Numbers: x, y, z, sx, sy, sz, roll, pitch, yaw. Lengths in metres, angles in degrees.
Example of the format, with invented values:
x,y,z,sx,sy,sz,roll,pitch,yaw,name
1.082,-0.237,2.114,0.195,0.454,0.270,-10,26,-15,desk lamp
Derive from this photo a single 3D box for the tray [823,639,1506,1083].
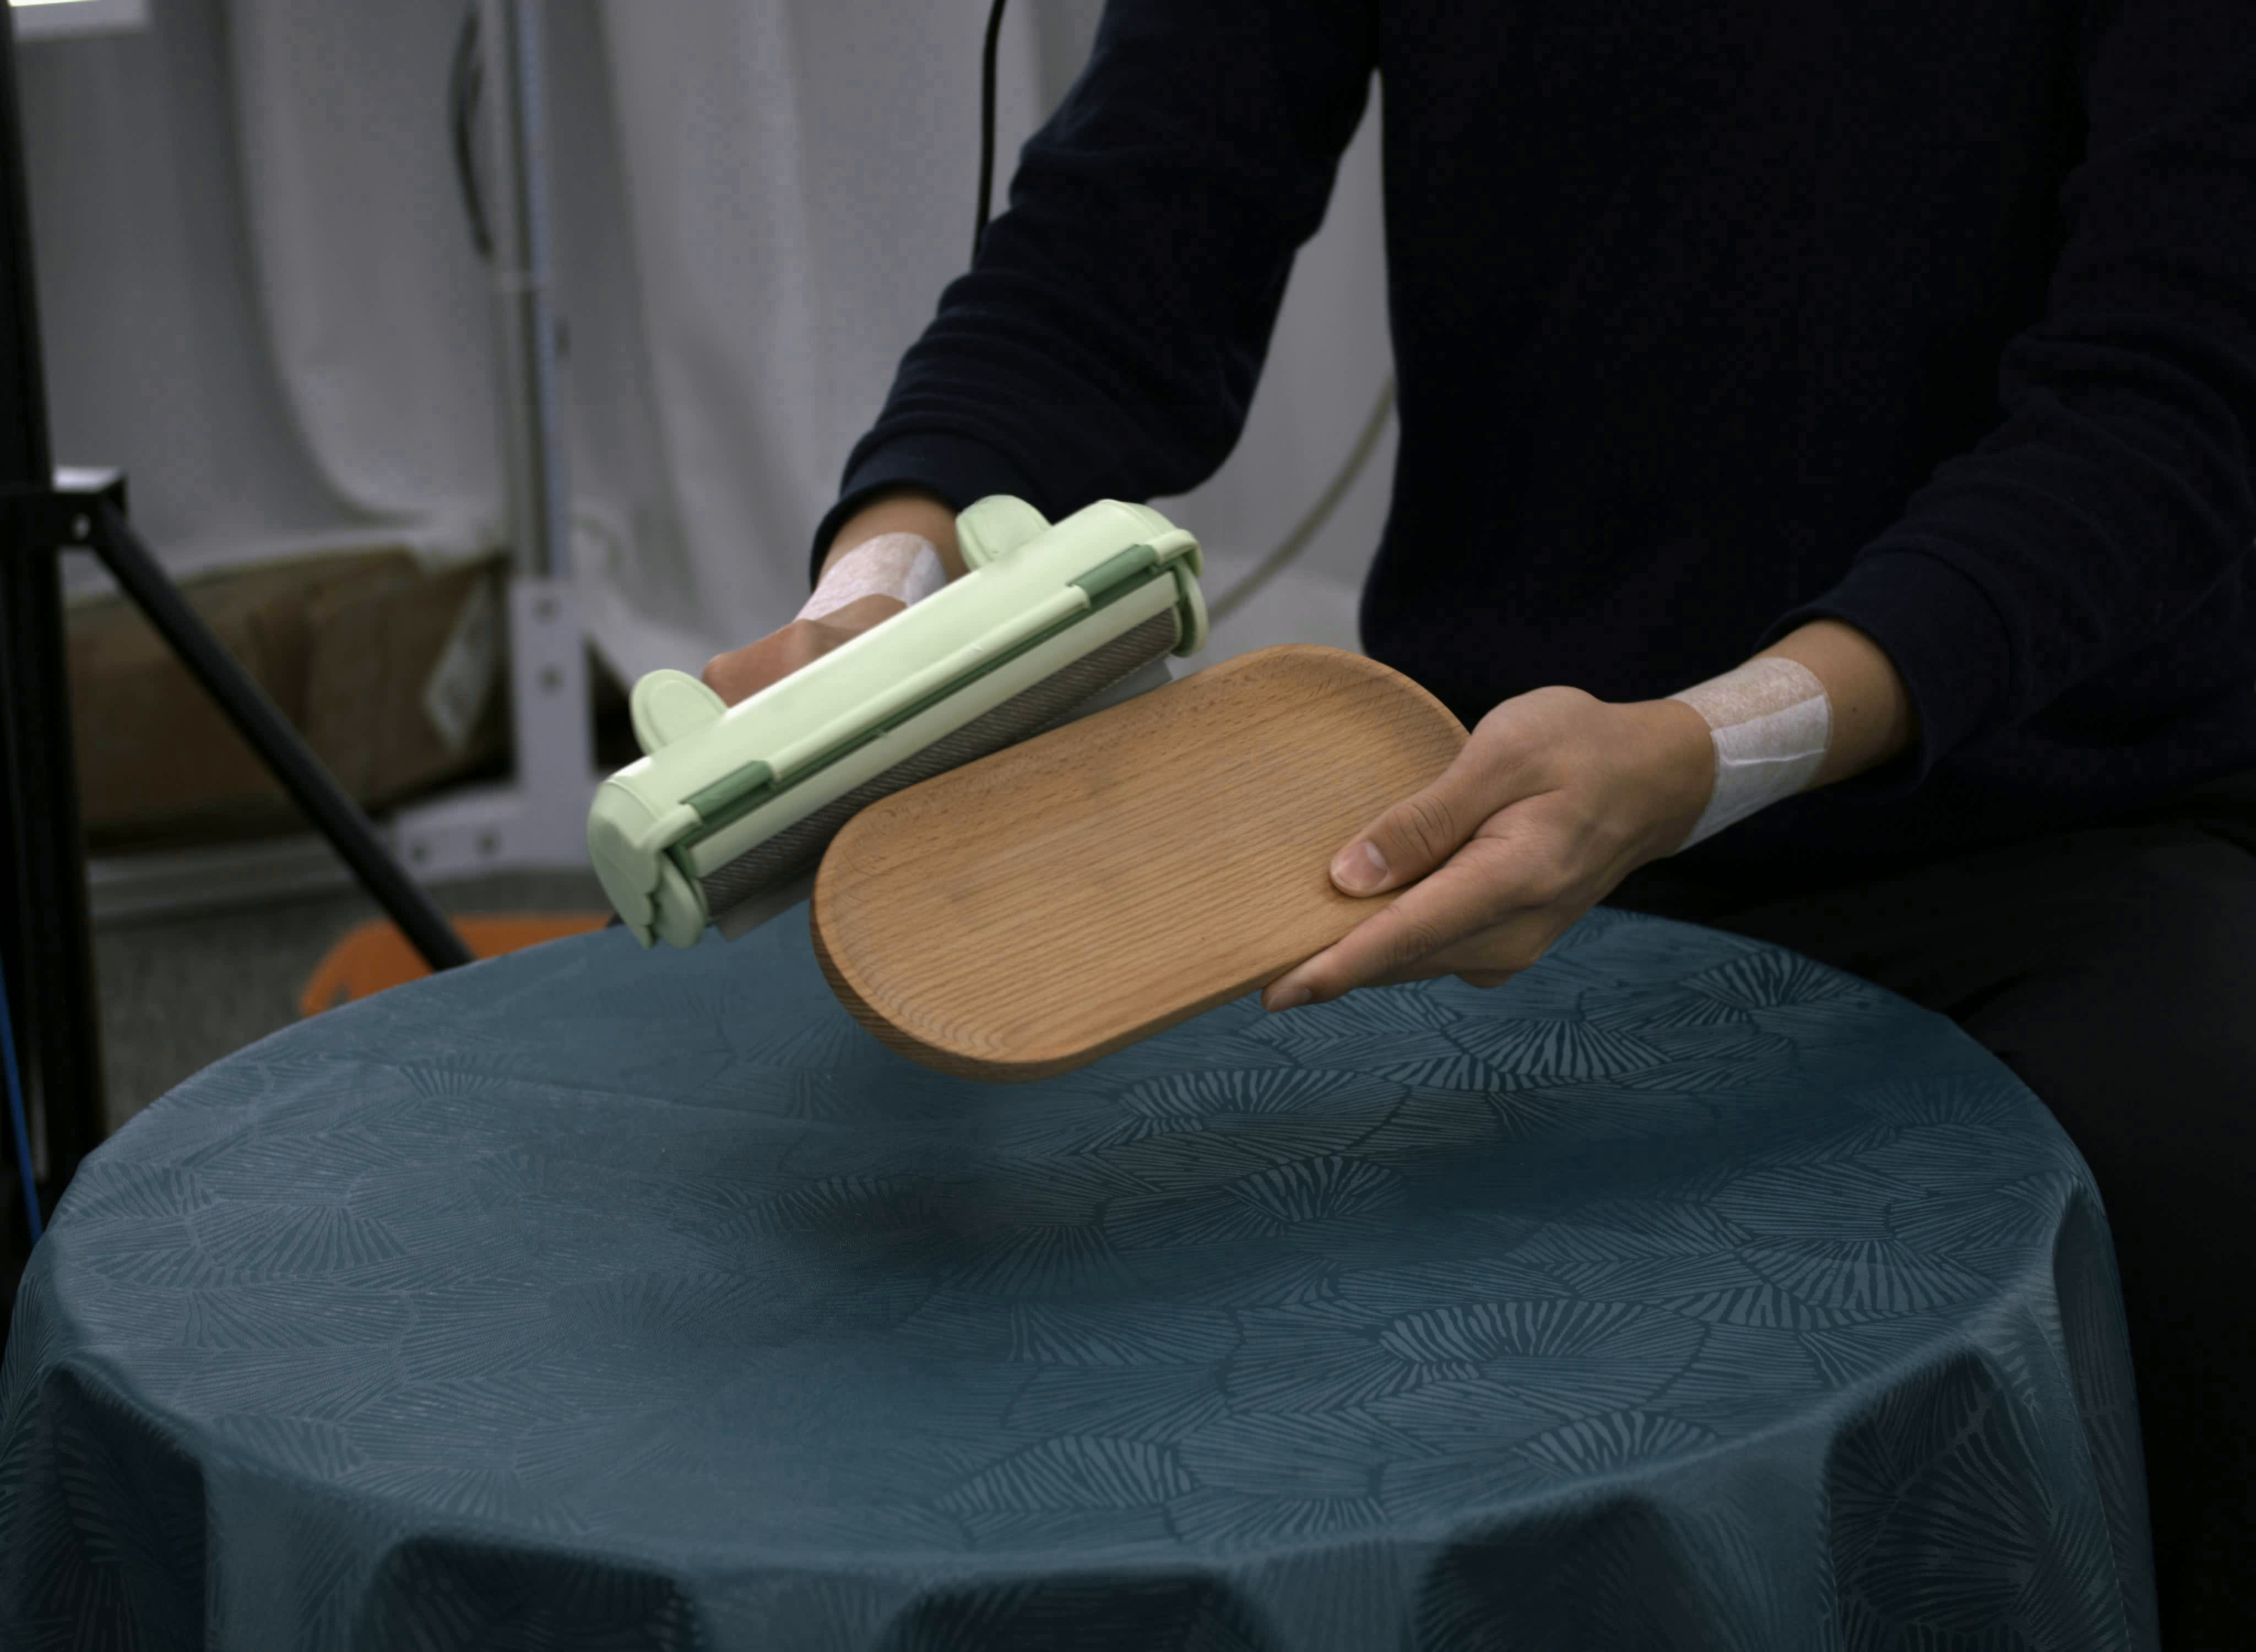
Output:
x,y,z,sx,sy,sz,roll,pitch,yaw,name
0.012,0.009,1.536,0.226,0.020,0.103,-22,61,-34,tray

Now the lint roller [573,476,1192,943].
x,y,z,sx,sy,sz,roll,pitch,yaw,name
-0.095,-0.037,1.596,0.196,0.082,0.186,-31,10,-22,lint roller
